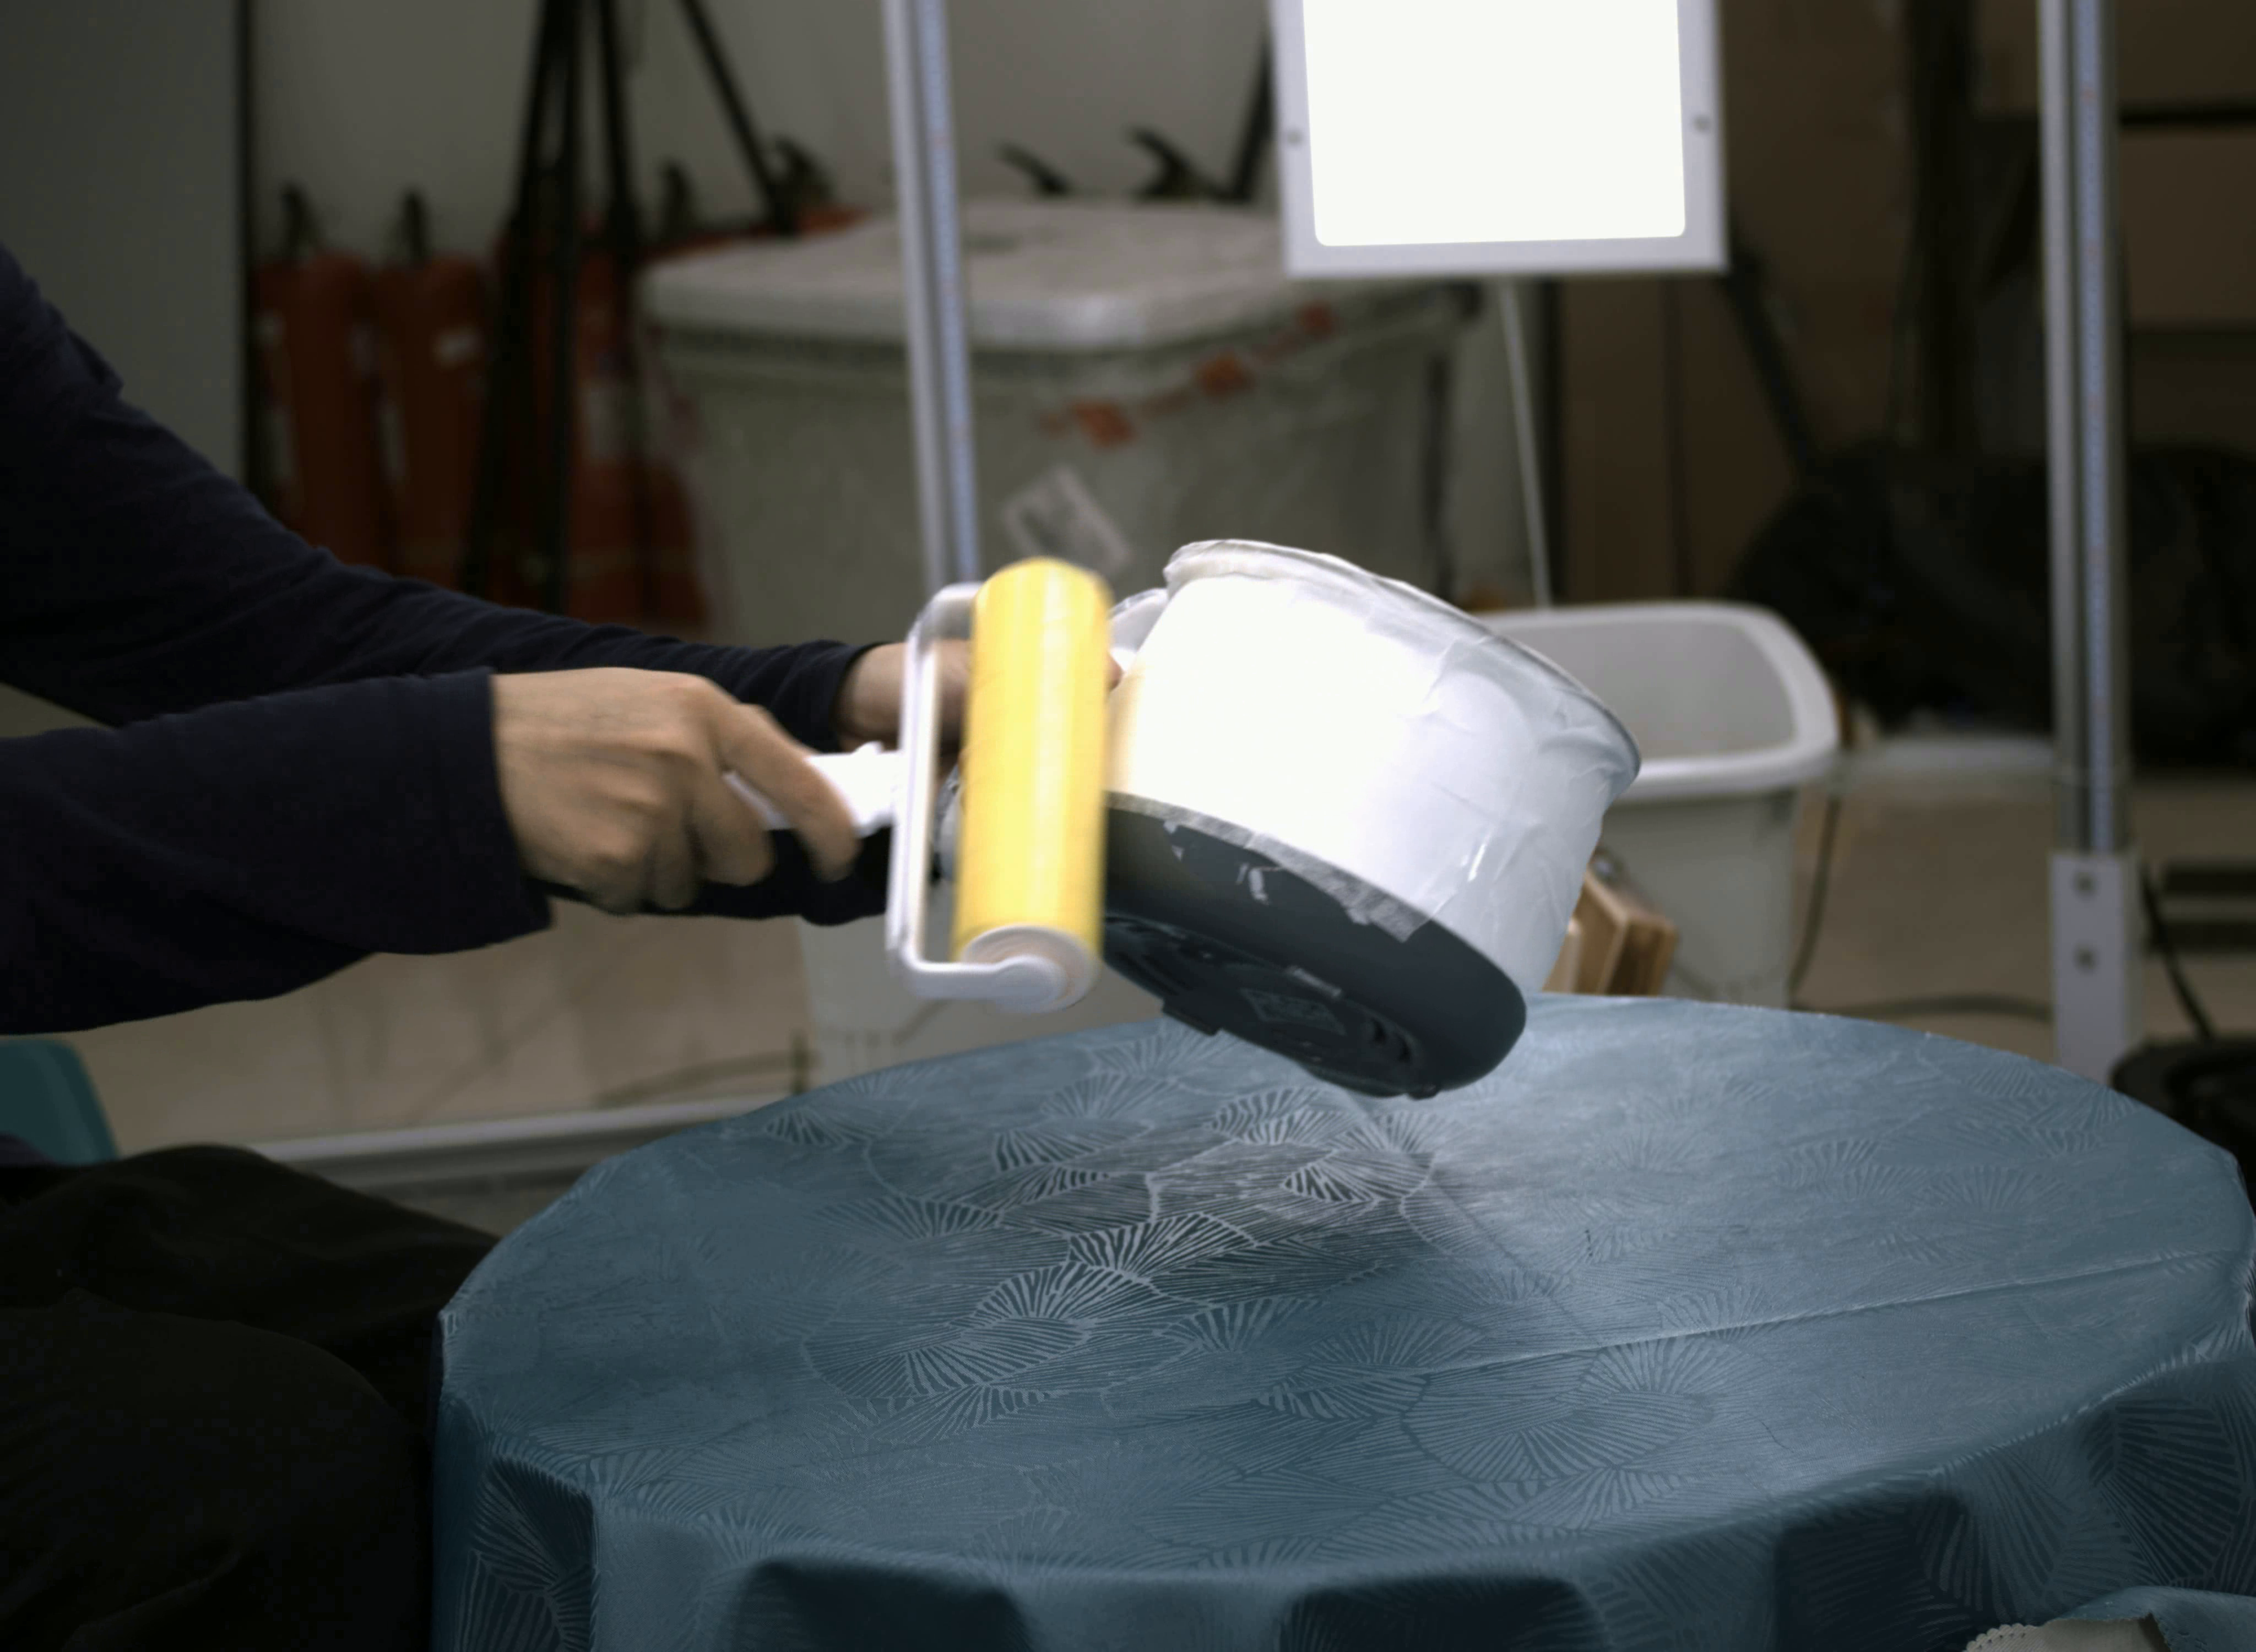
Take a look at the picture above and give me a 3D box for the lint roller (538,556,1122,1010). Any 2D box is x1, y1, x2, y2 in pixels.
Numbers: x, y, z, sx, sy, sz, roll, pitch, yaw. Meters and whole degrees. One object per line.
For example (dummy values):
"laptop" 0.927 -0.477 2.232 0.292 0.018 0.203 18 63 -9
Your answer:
"lint roller" -0.098 -0.016 1.804 0.191 0.052 0.173 2 48 -1

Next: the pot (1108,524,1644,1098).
"pot" 0.046 -0.010 1.880 0.238 0.136 0.176 20 -15 32
